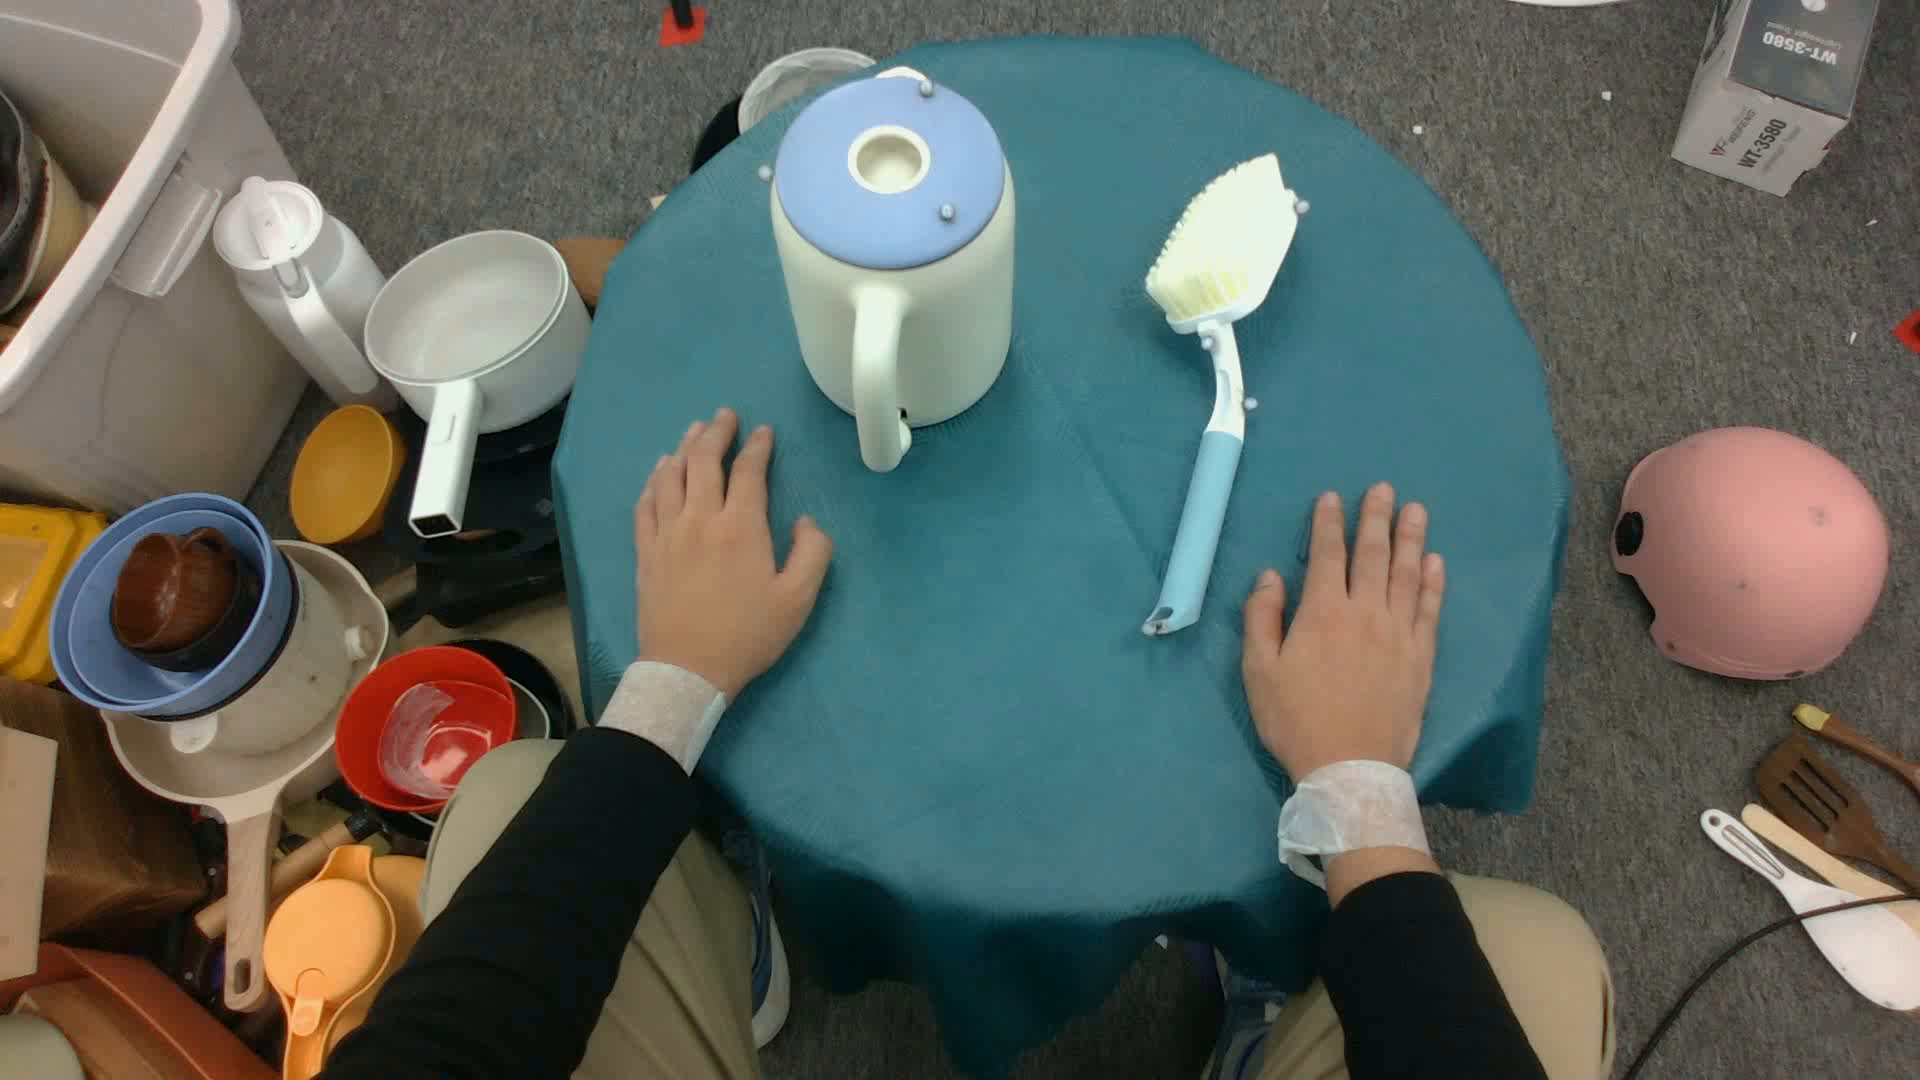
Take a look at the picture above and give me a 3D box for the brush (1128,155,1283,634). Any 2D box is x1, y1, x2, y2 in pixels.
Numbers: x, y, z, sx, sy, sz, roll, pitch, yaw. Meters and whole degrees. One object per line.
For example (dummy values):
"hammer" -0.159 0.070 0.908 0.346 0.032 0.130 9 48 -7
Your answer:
"brush" 0.130 -0.103 0.805 0.084 0.083 0.326 18 67 0

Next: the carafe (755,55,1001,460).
"carafe" -0.045 -0.142 0.772 0.132 0.182 0.191 2 68 1
